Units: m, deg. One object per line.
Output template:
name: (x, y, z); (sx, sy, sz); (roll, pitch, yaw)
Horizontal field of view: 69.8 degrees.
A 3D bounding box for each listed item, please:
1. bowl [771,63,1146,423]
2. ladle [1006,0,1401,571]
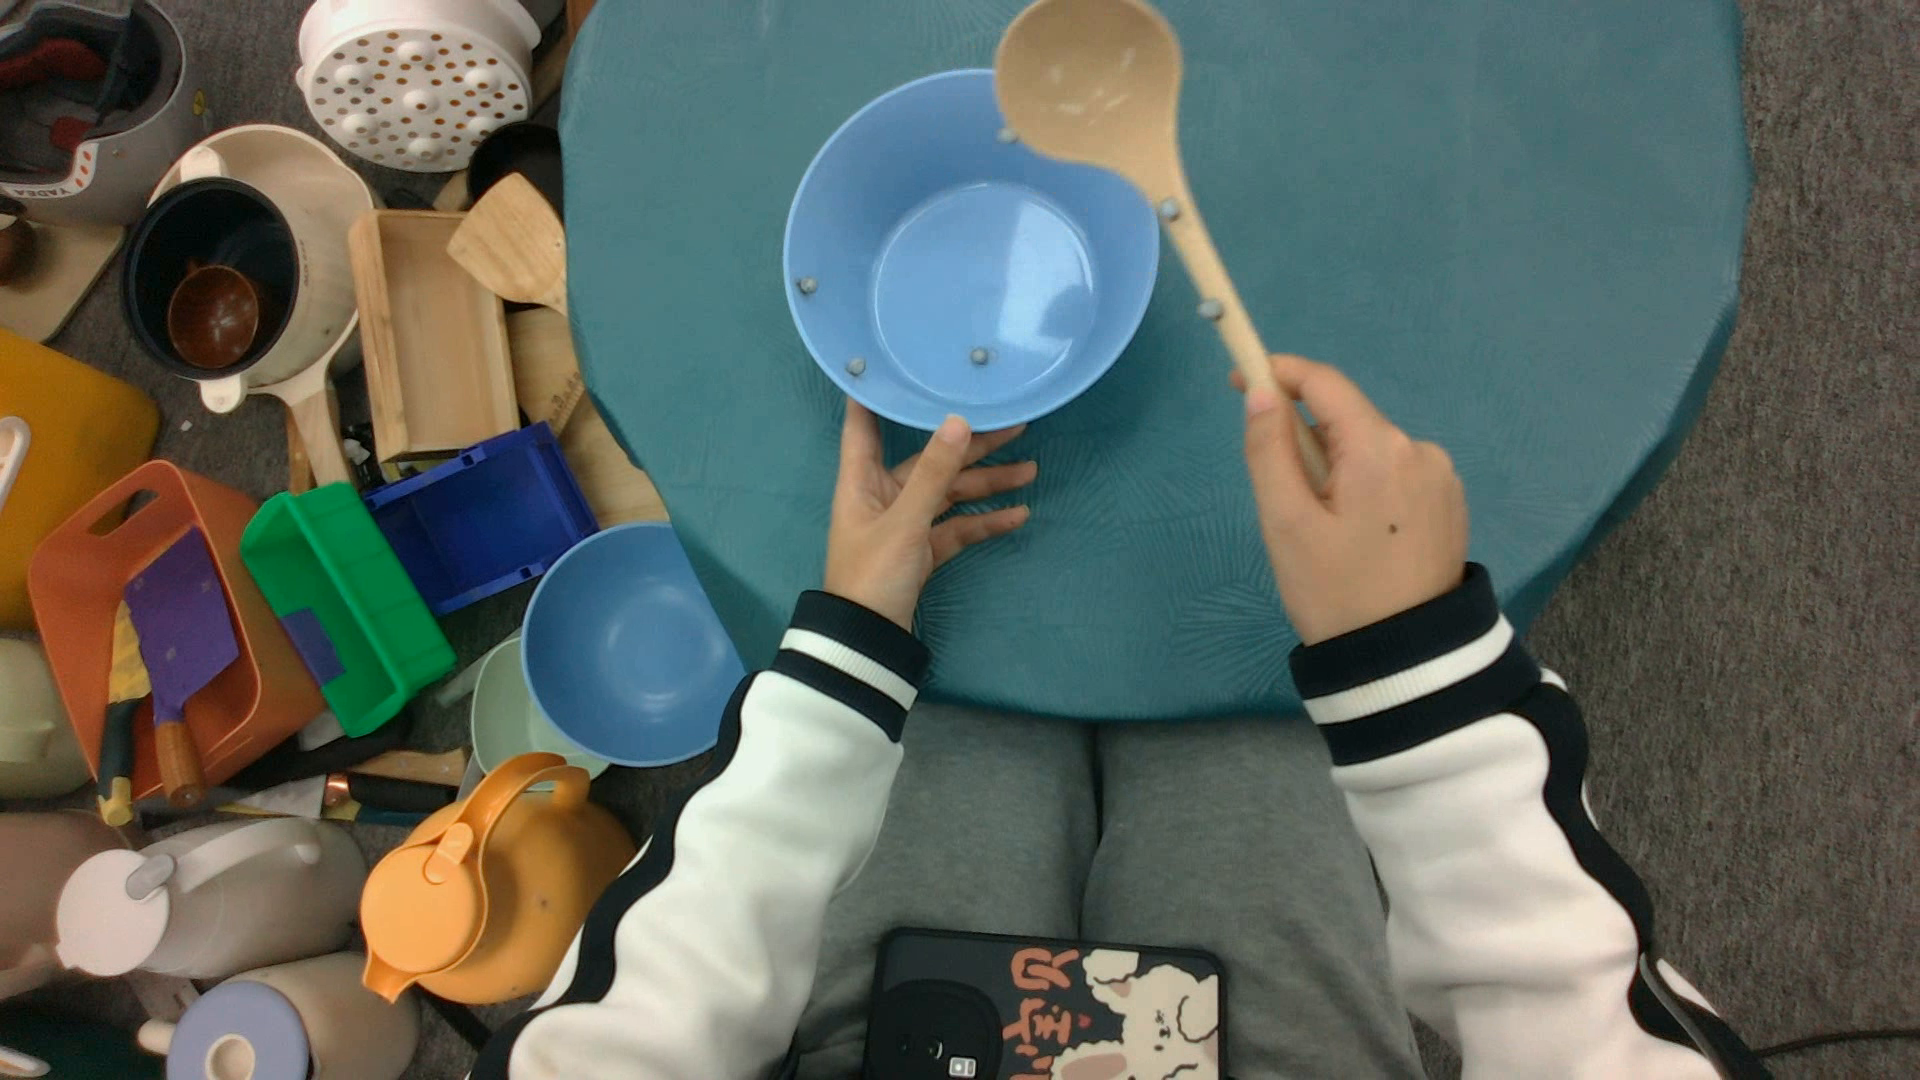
bowl: (0.002, -0.134, 0.668); (0.176, 0.070, 0.176); (-1, 79, 8)
ladle: (0.090, -0.104, 0.508); (0.072, 0.073, 0.255); (-32, 69, 26)
